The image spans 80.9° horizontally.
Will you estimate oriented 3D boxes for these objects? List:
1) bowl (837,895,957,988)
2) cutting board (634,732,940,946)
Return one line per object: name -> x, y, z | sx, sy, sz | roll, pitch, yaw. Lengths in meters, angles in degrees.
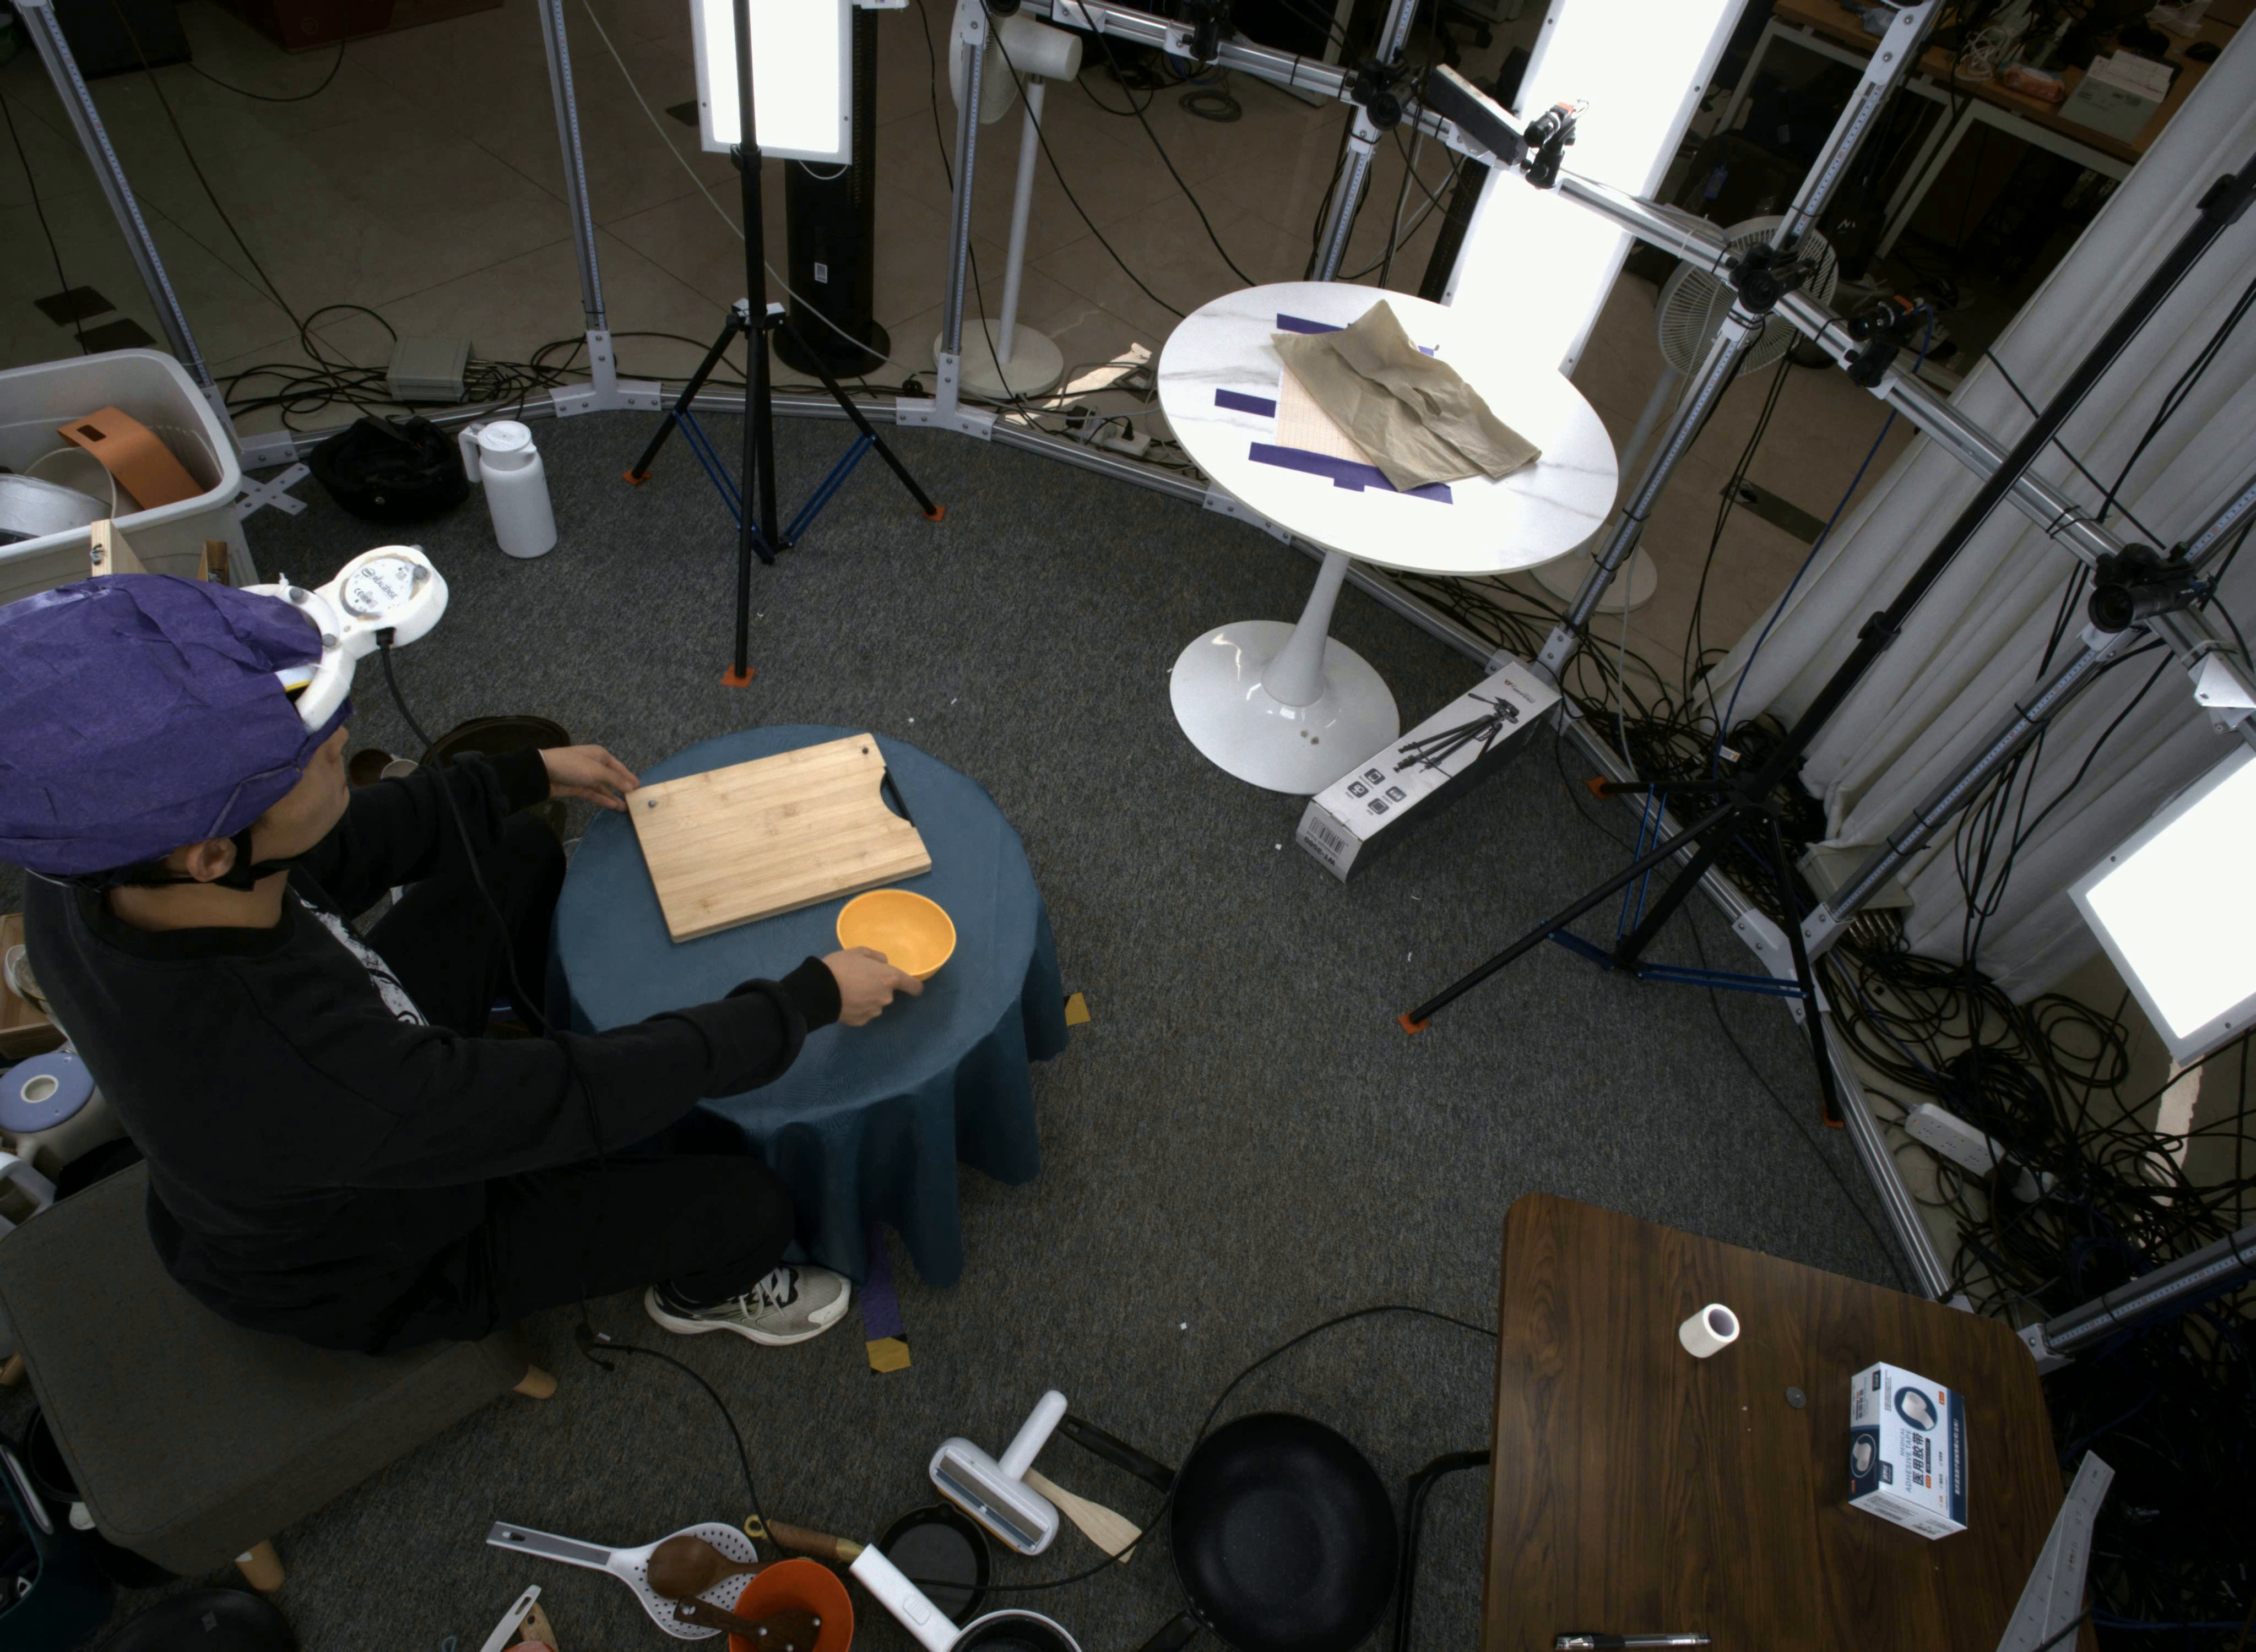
bowl -> -0.283, 0.151, 1.593 | 0.145, 0.061, 0.142 | 10, 37, -6
cutting board -> -0.454, 0.006, 1.706 | 0.350, 0.024, 0.244 | -17, 60, -25
